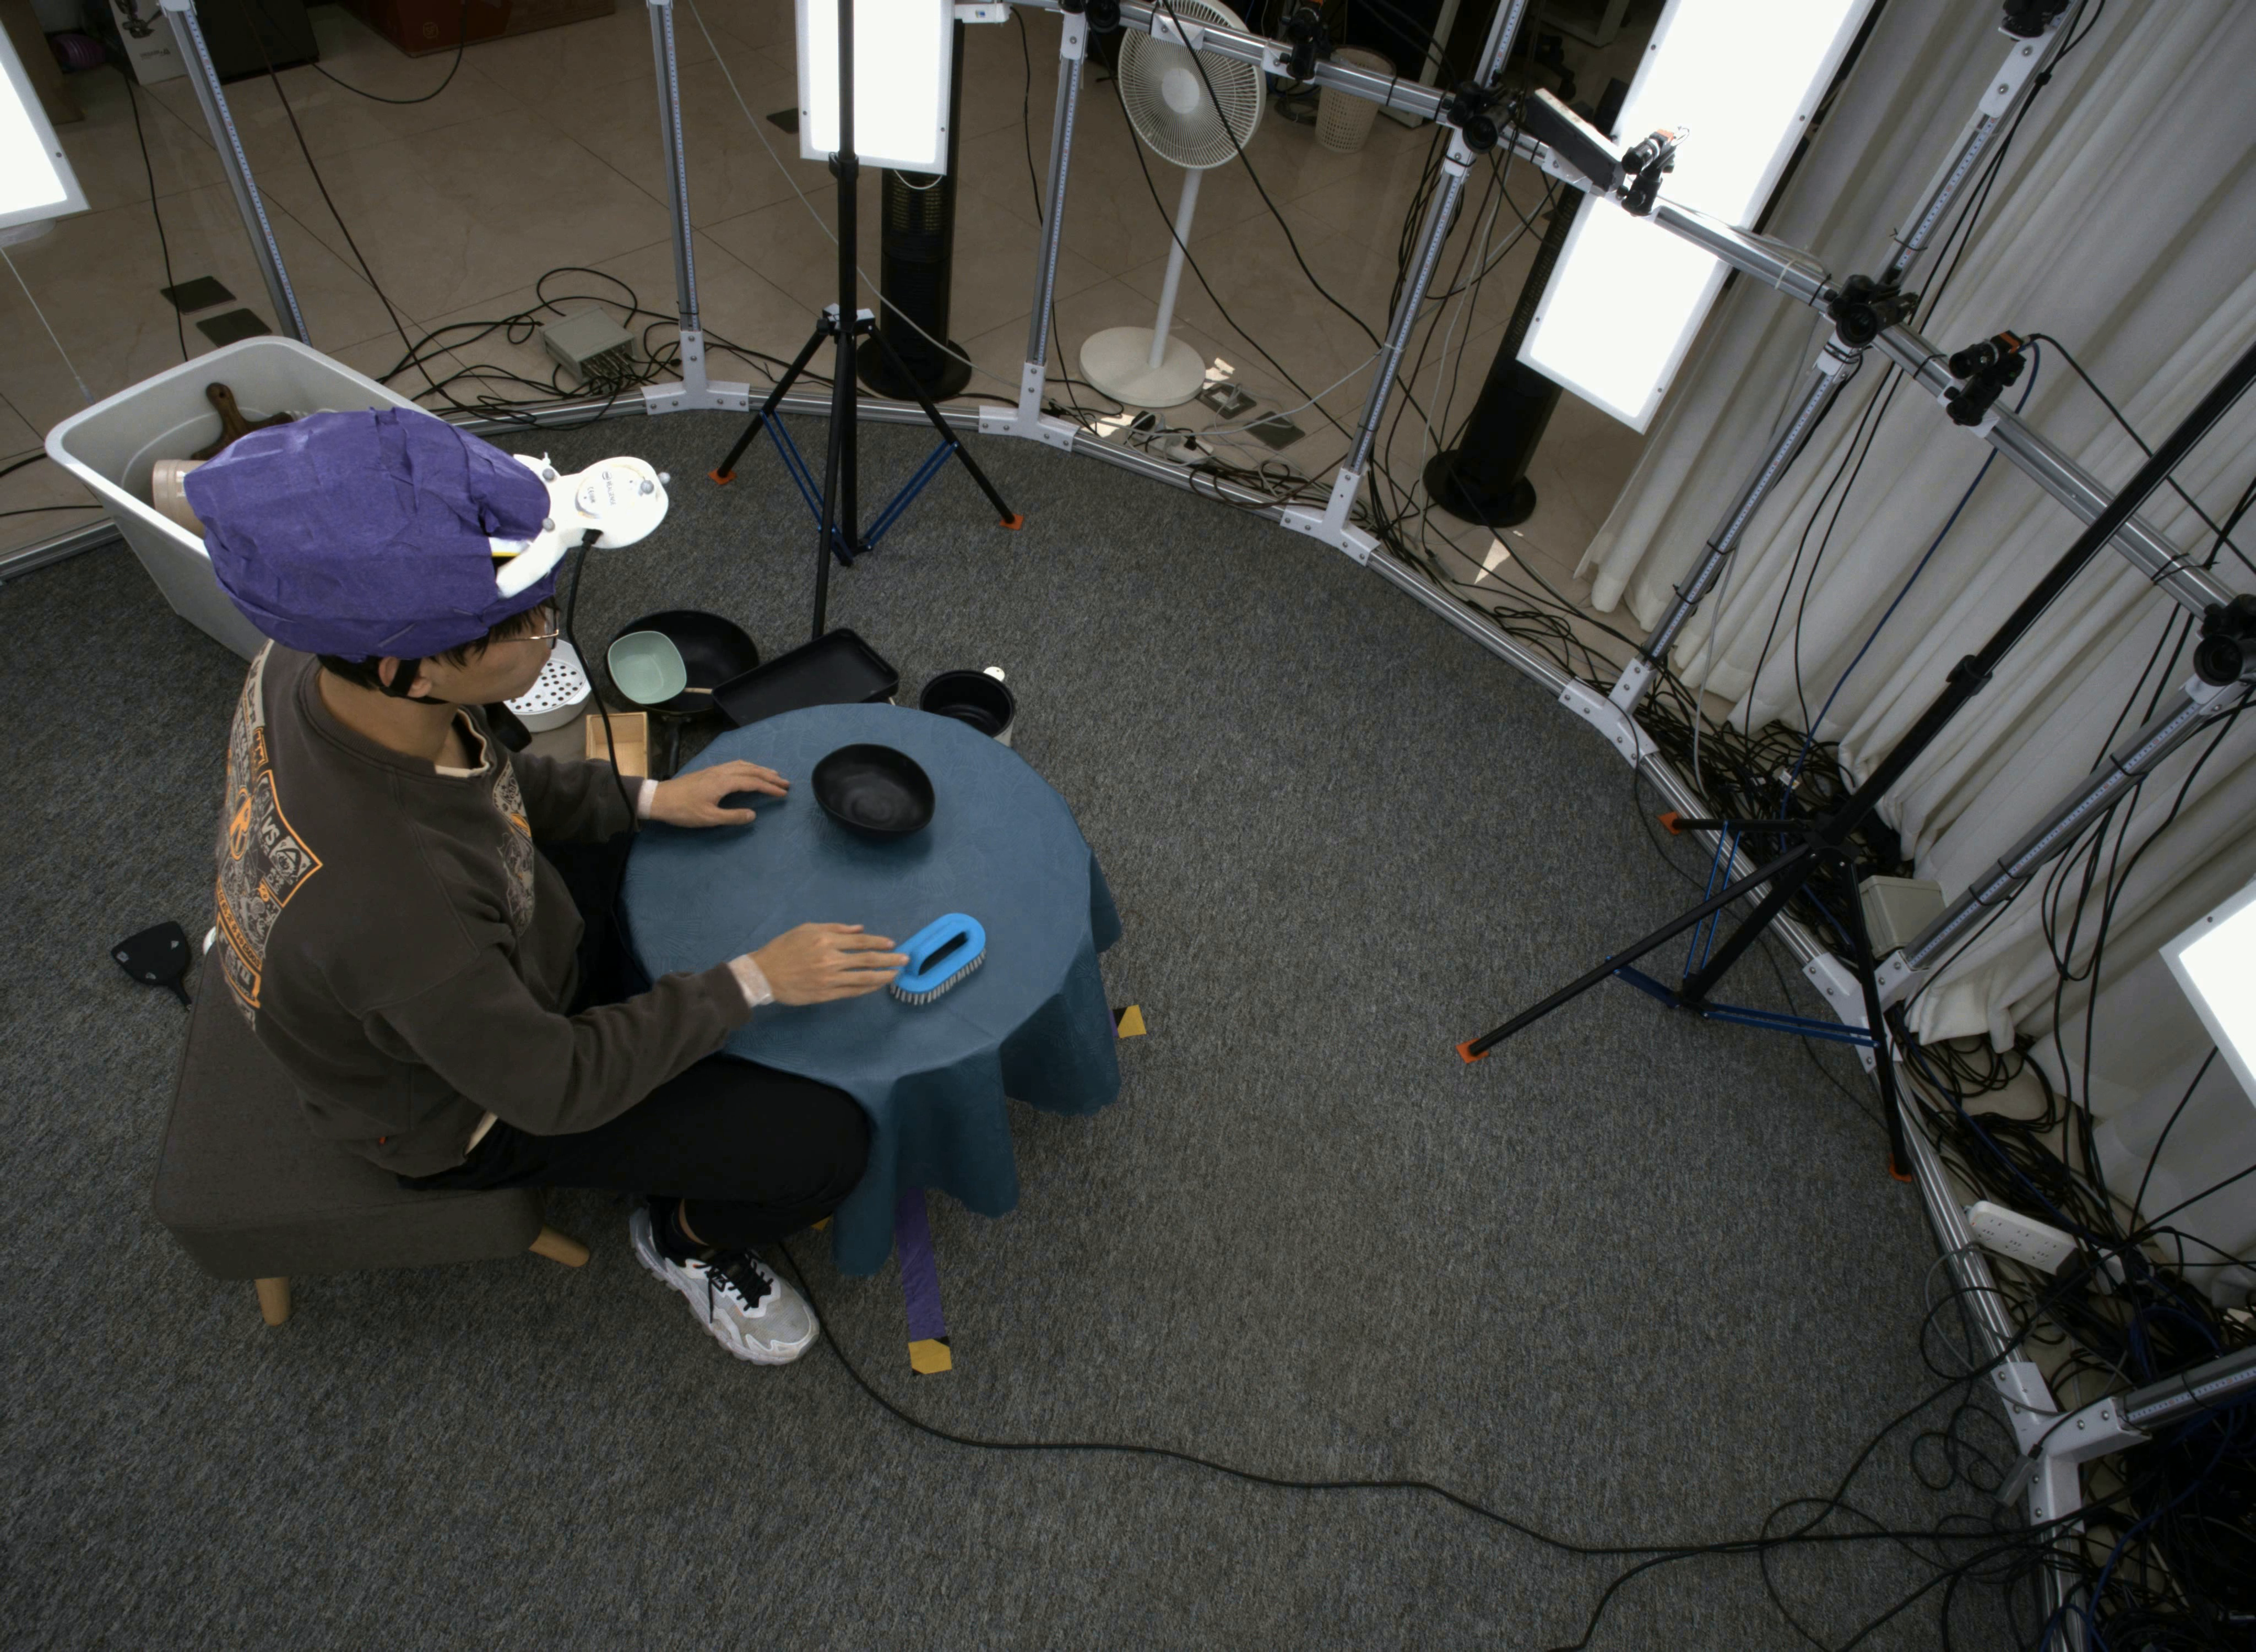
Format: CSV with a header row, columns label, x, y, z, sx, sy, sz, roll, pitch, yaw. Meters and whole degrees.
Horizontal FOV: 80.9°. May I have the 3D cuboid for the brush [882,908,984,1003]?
label,x,y,z,sx,sy,sz,roll,pitch,yaw
brush,-0.240,0.154,1.628,0.142,0.065,0.083,-36,72,-31

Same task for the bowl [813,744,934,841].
label,x,y,z,sx,sy,sz,roll,pitch,yaw
bowl,-0.340,-0.034,1.744,0.168,0.068,0.136,24,53,3
